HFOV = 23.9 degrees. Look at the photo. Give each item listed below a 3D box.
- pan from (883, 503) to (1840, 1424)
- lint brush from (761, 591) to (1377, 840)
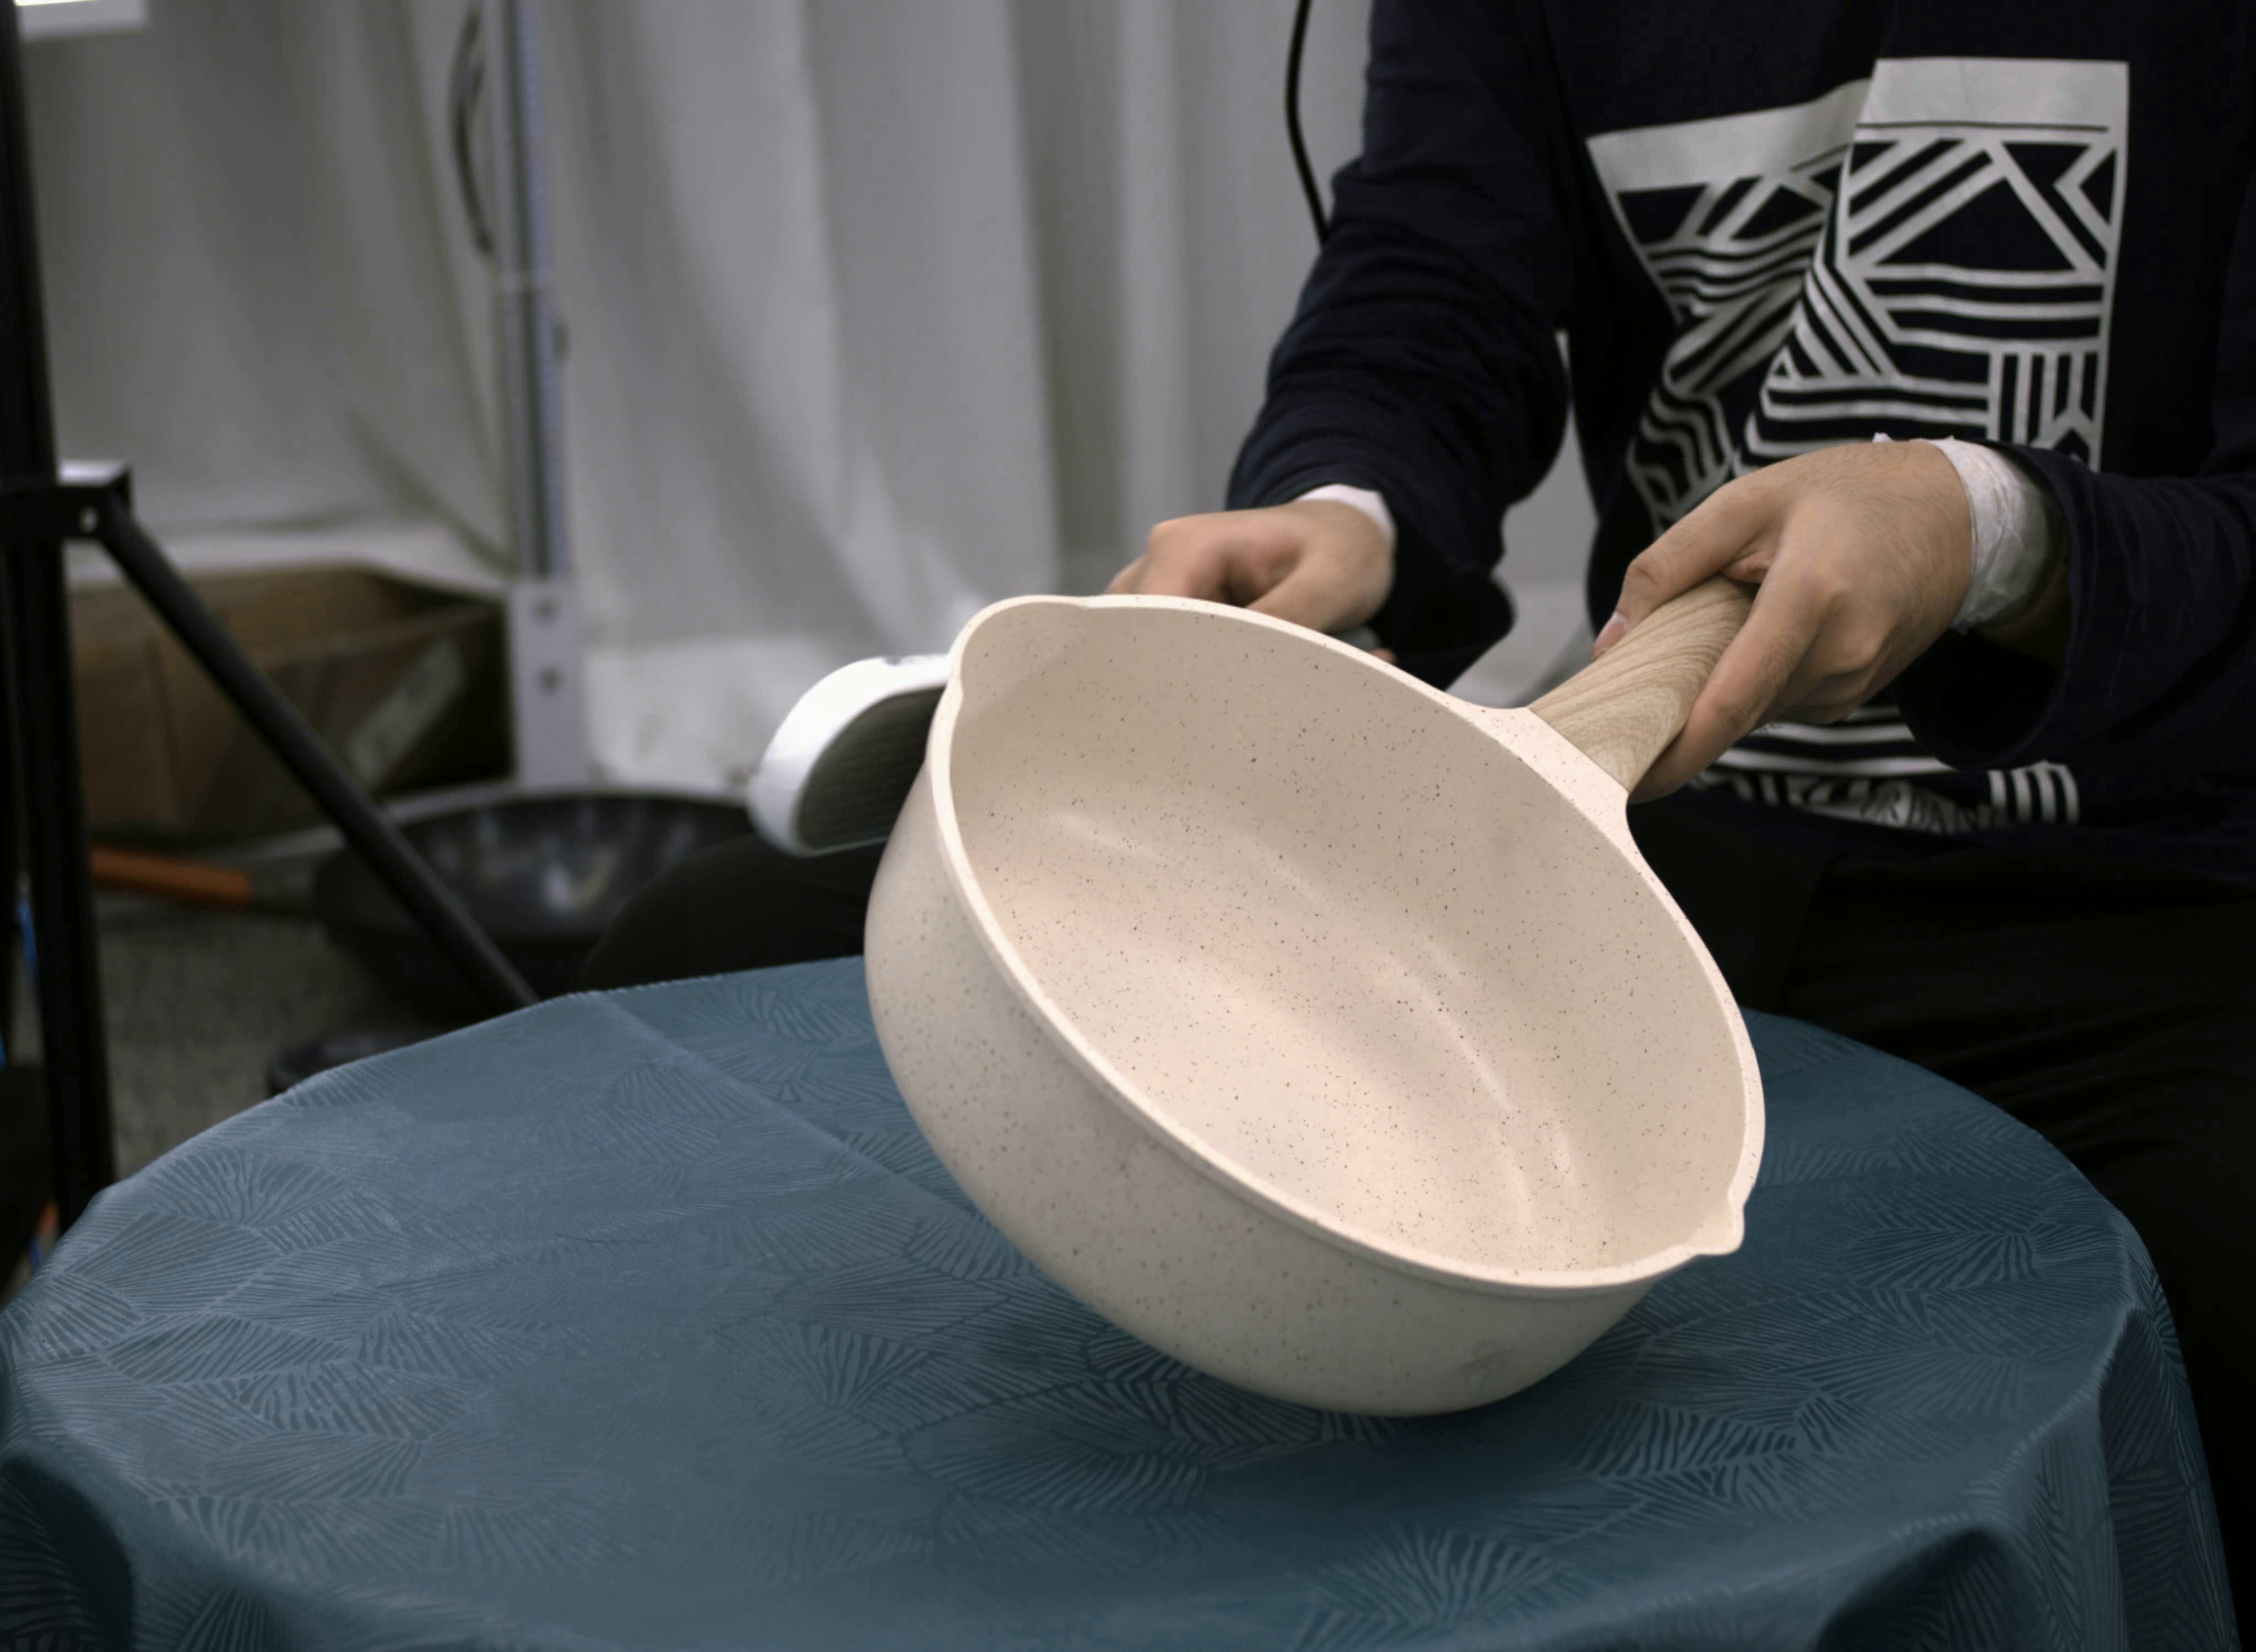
[{"bbox_3d":[0.094,0.019,1.485,0.266,0.102,0.428,37,34,13],"label":"pan"},{"bbox_3d":[-0.009,-0.039,1.528,0.021,0.060,0.302,34,24,24],"label":"lint brush"}]
